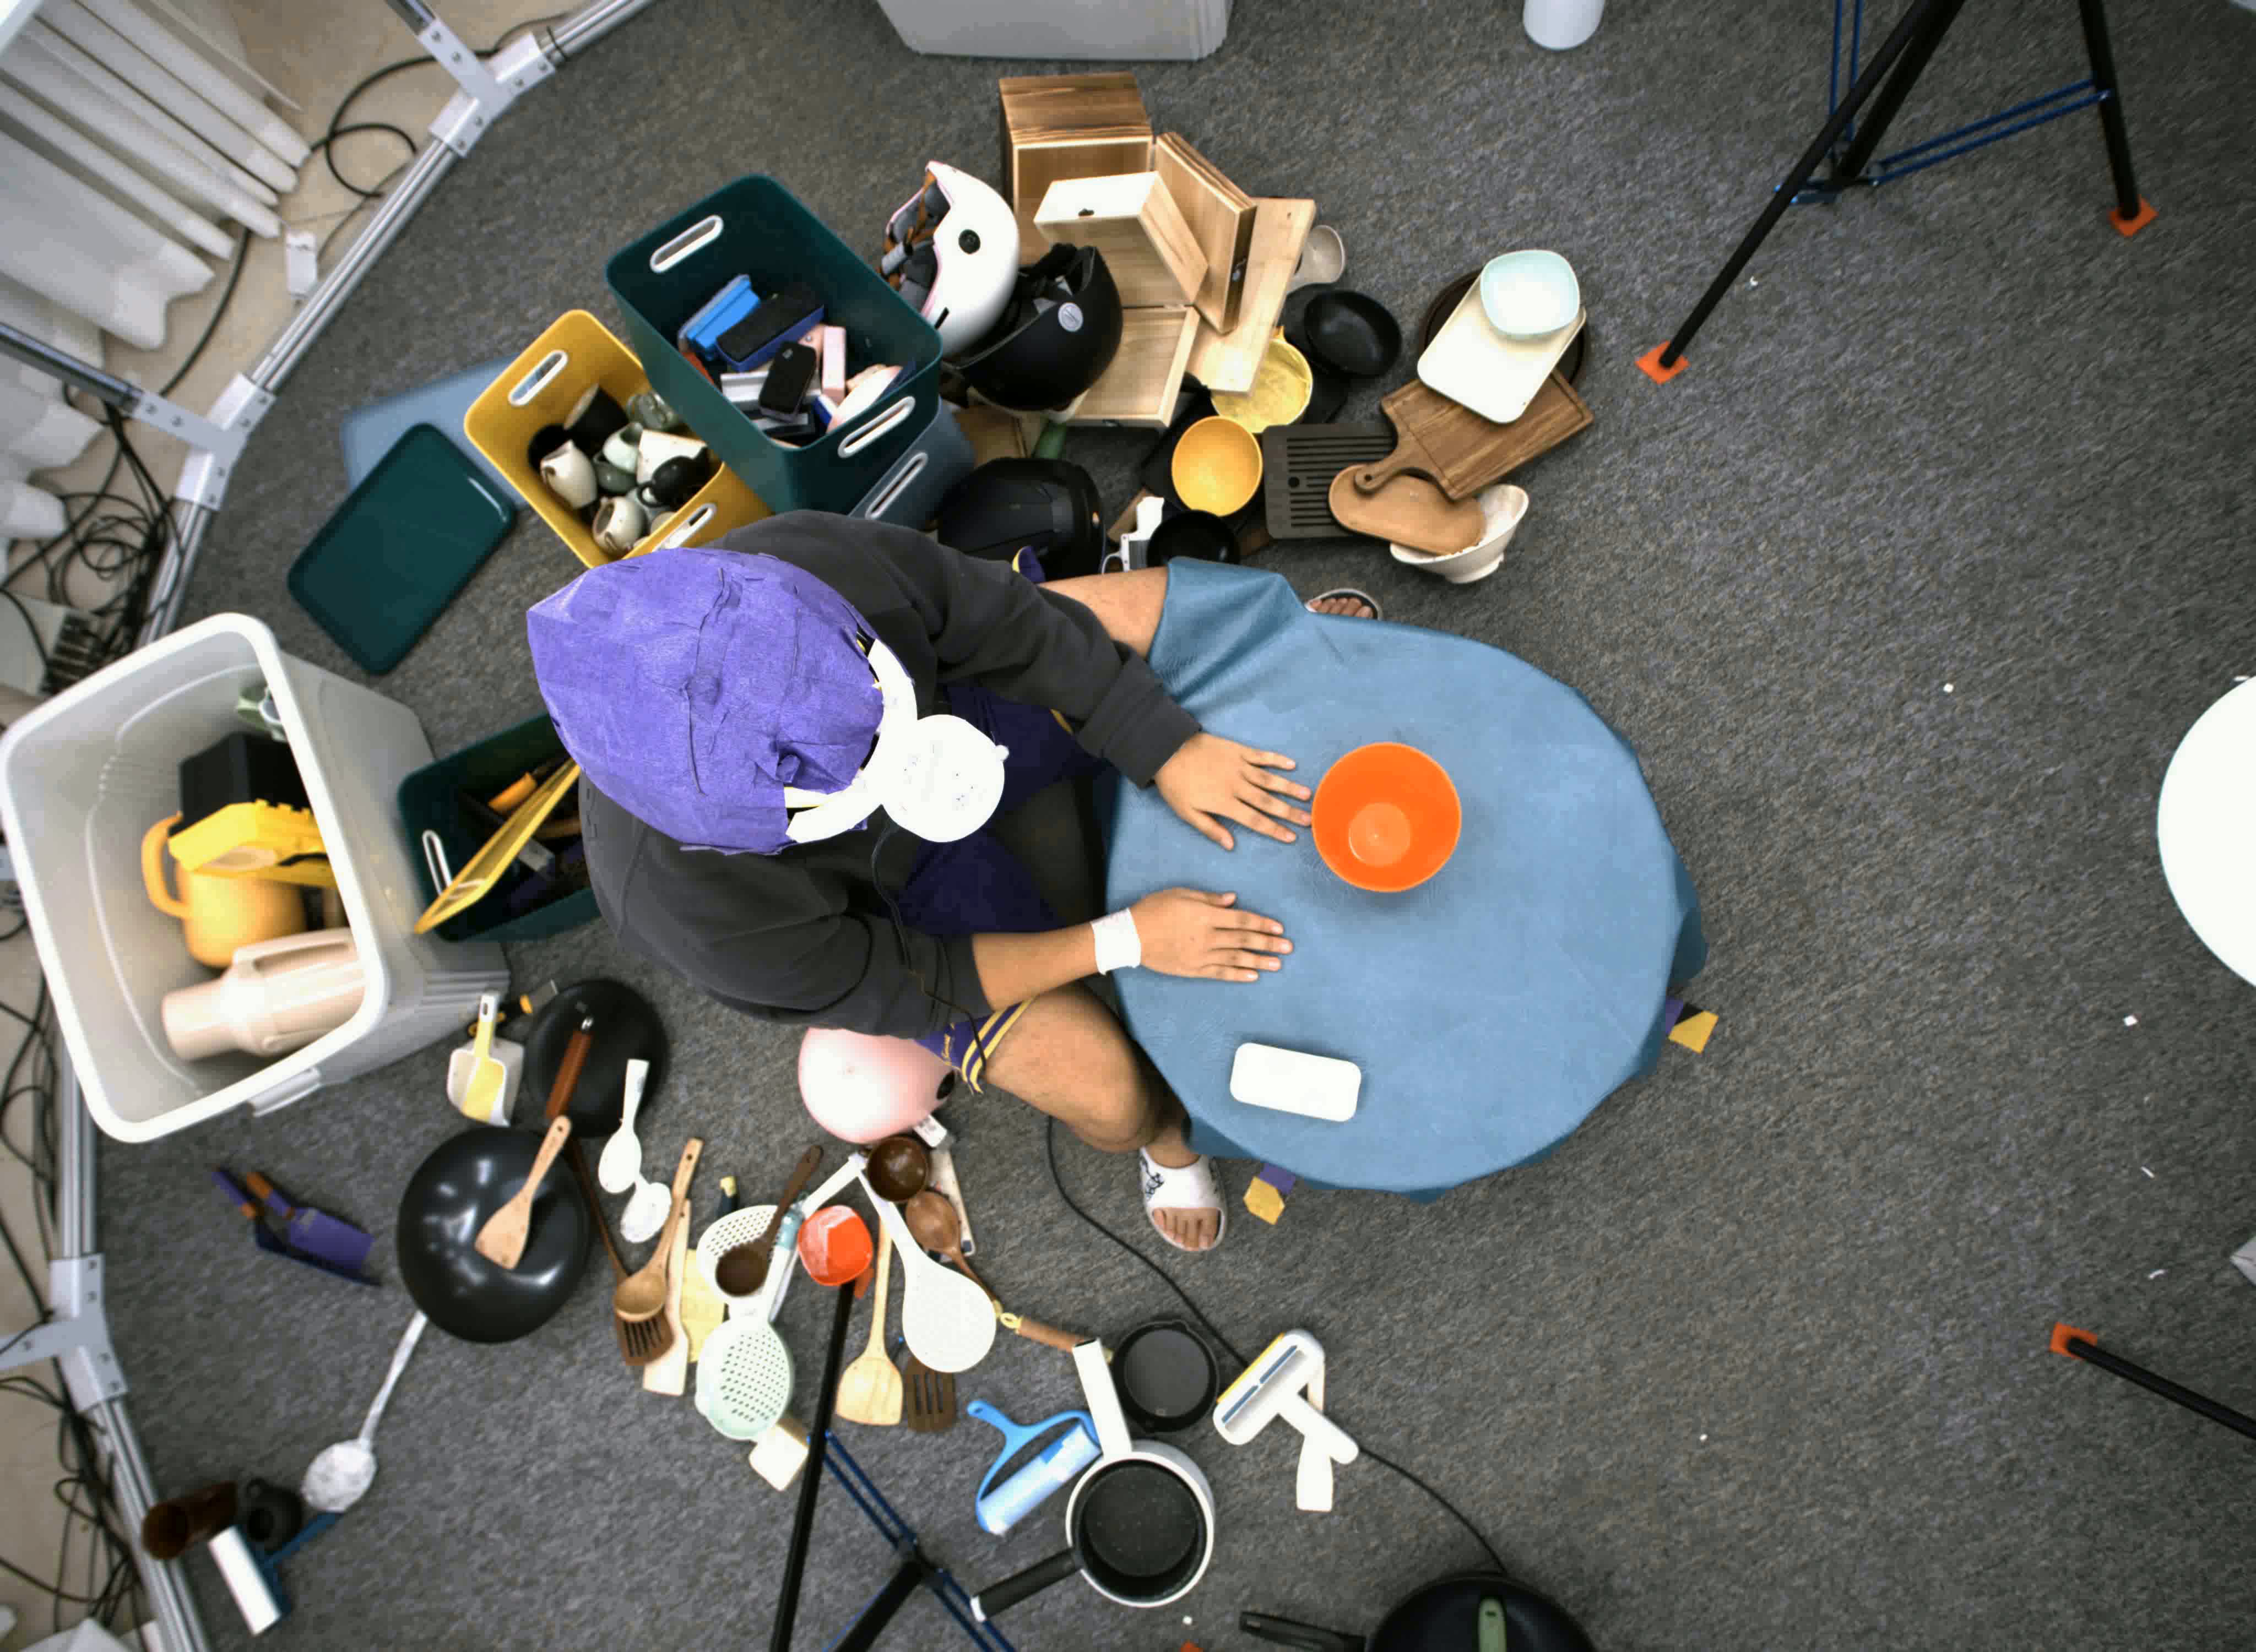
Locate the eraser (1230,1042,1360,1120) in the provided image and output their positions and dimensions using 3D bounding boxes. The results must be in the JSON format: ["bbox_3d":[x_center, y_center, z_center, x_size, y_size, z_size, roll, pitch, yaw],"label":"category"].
[{"bbox_3d":[0.174,0.263,1.450,0.131,0.034,0.063,11,87,9],"label":"eraser"}]

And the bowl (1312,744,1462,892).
[{"bbox_3d":[0.264,-0.005,1.414,0.148,0.104,0.147,-1,87,10],"label":"bowl"}]
